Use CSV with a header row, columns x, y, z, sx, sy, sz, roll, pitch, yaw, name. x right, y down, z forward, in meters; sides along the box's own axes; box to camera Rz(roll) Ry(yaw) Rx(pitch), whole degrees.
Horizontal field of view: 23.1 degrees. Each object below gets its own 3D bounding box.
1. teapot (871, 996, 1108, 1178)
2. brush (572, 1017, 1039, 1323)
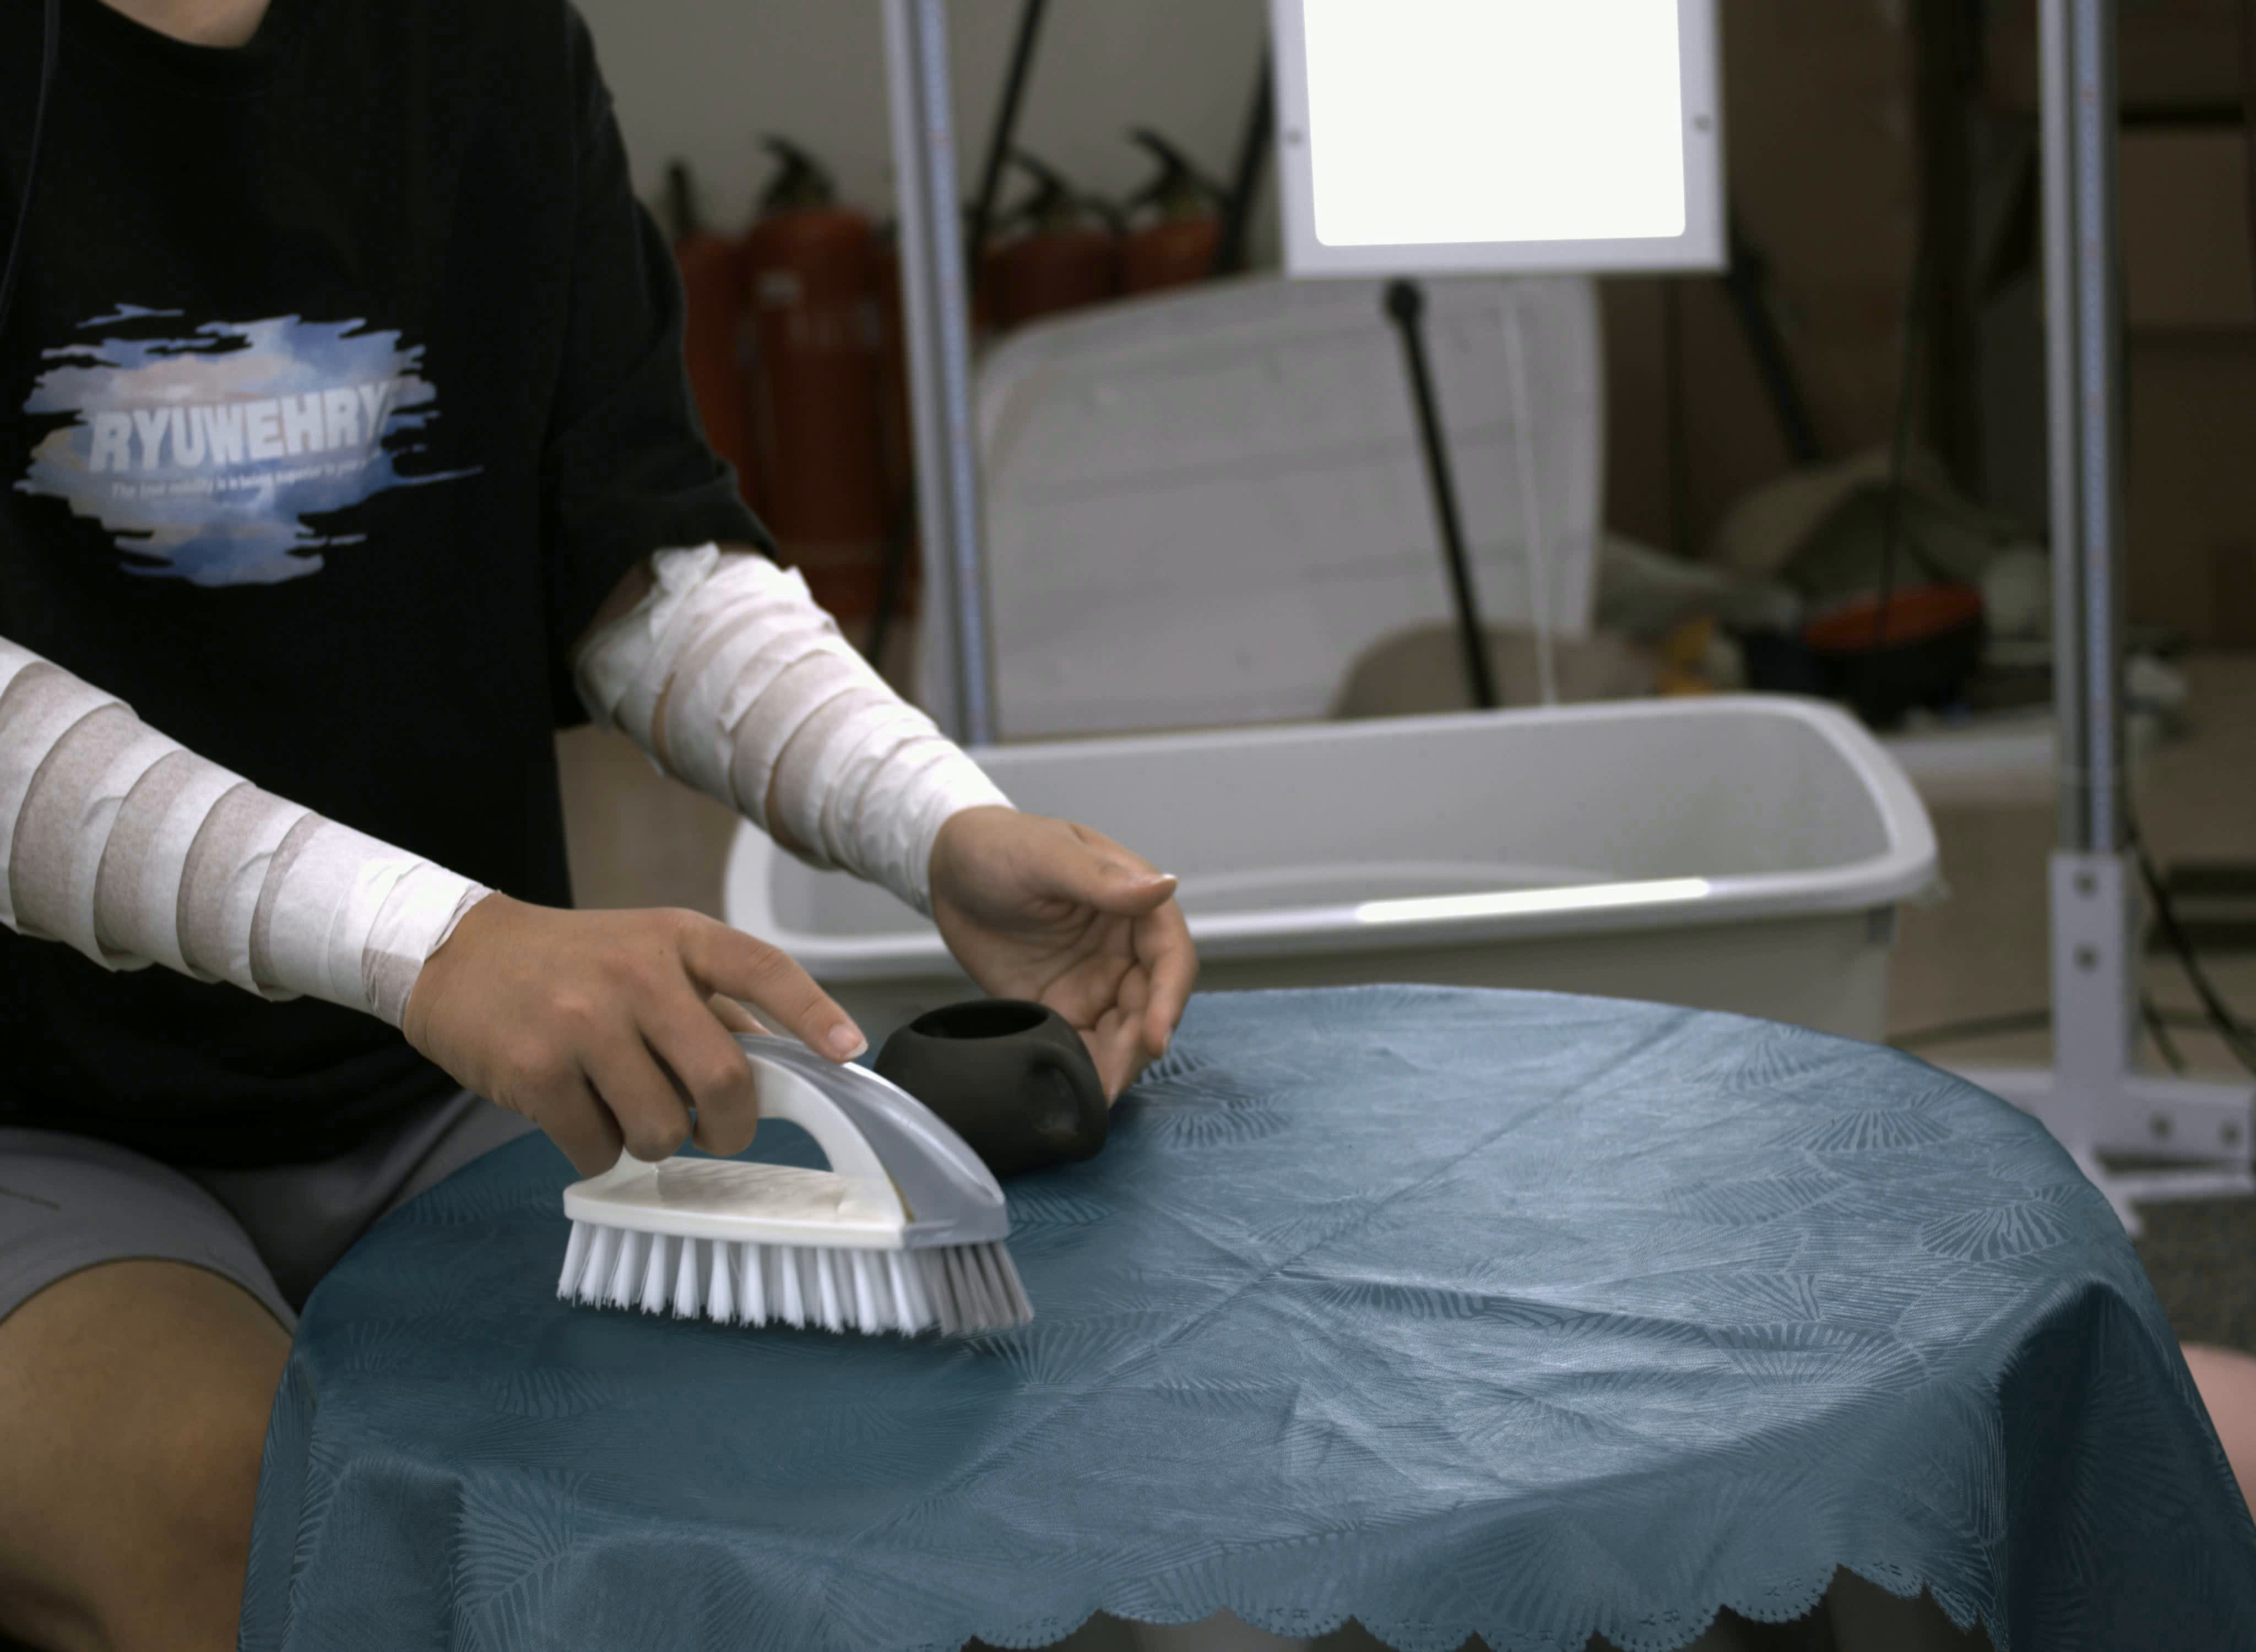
x,y,z,sx,sy,sz,roll,pitch,yaw,name
-0.044,0.094,1.942,0.081,0.053,0.116,-15,16,-33,teapot
-0.105,0.110,1.788,0.179,0.094,0.060,5,18,35,brush
